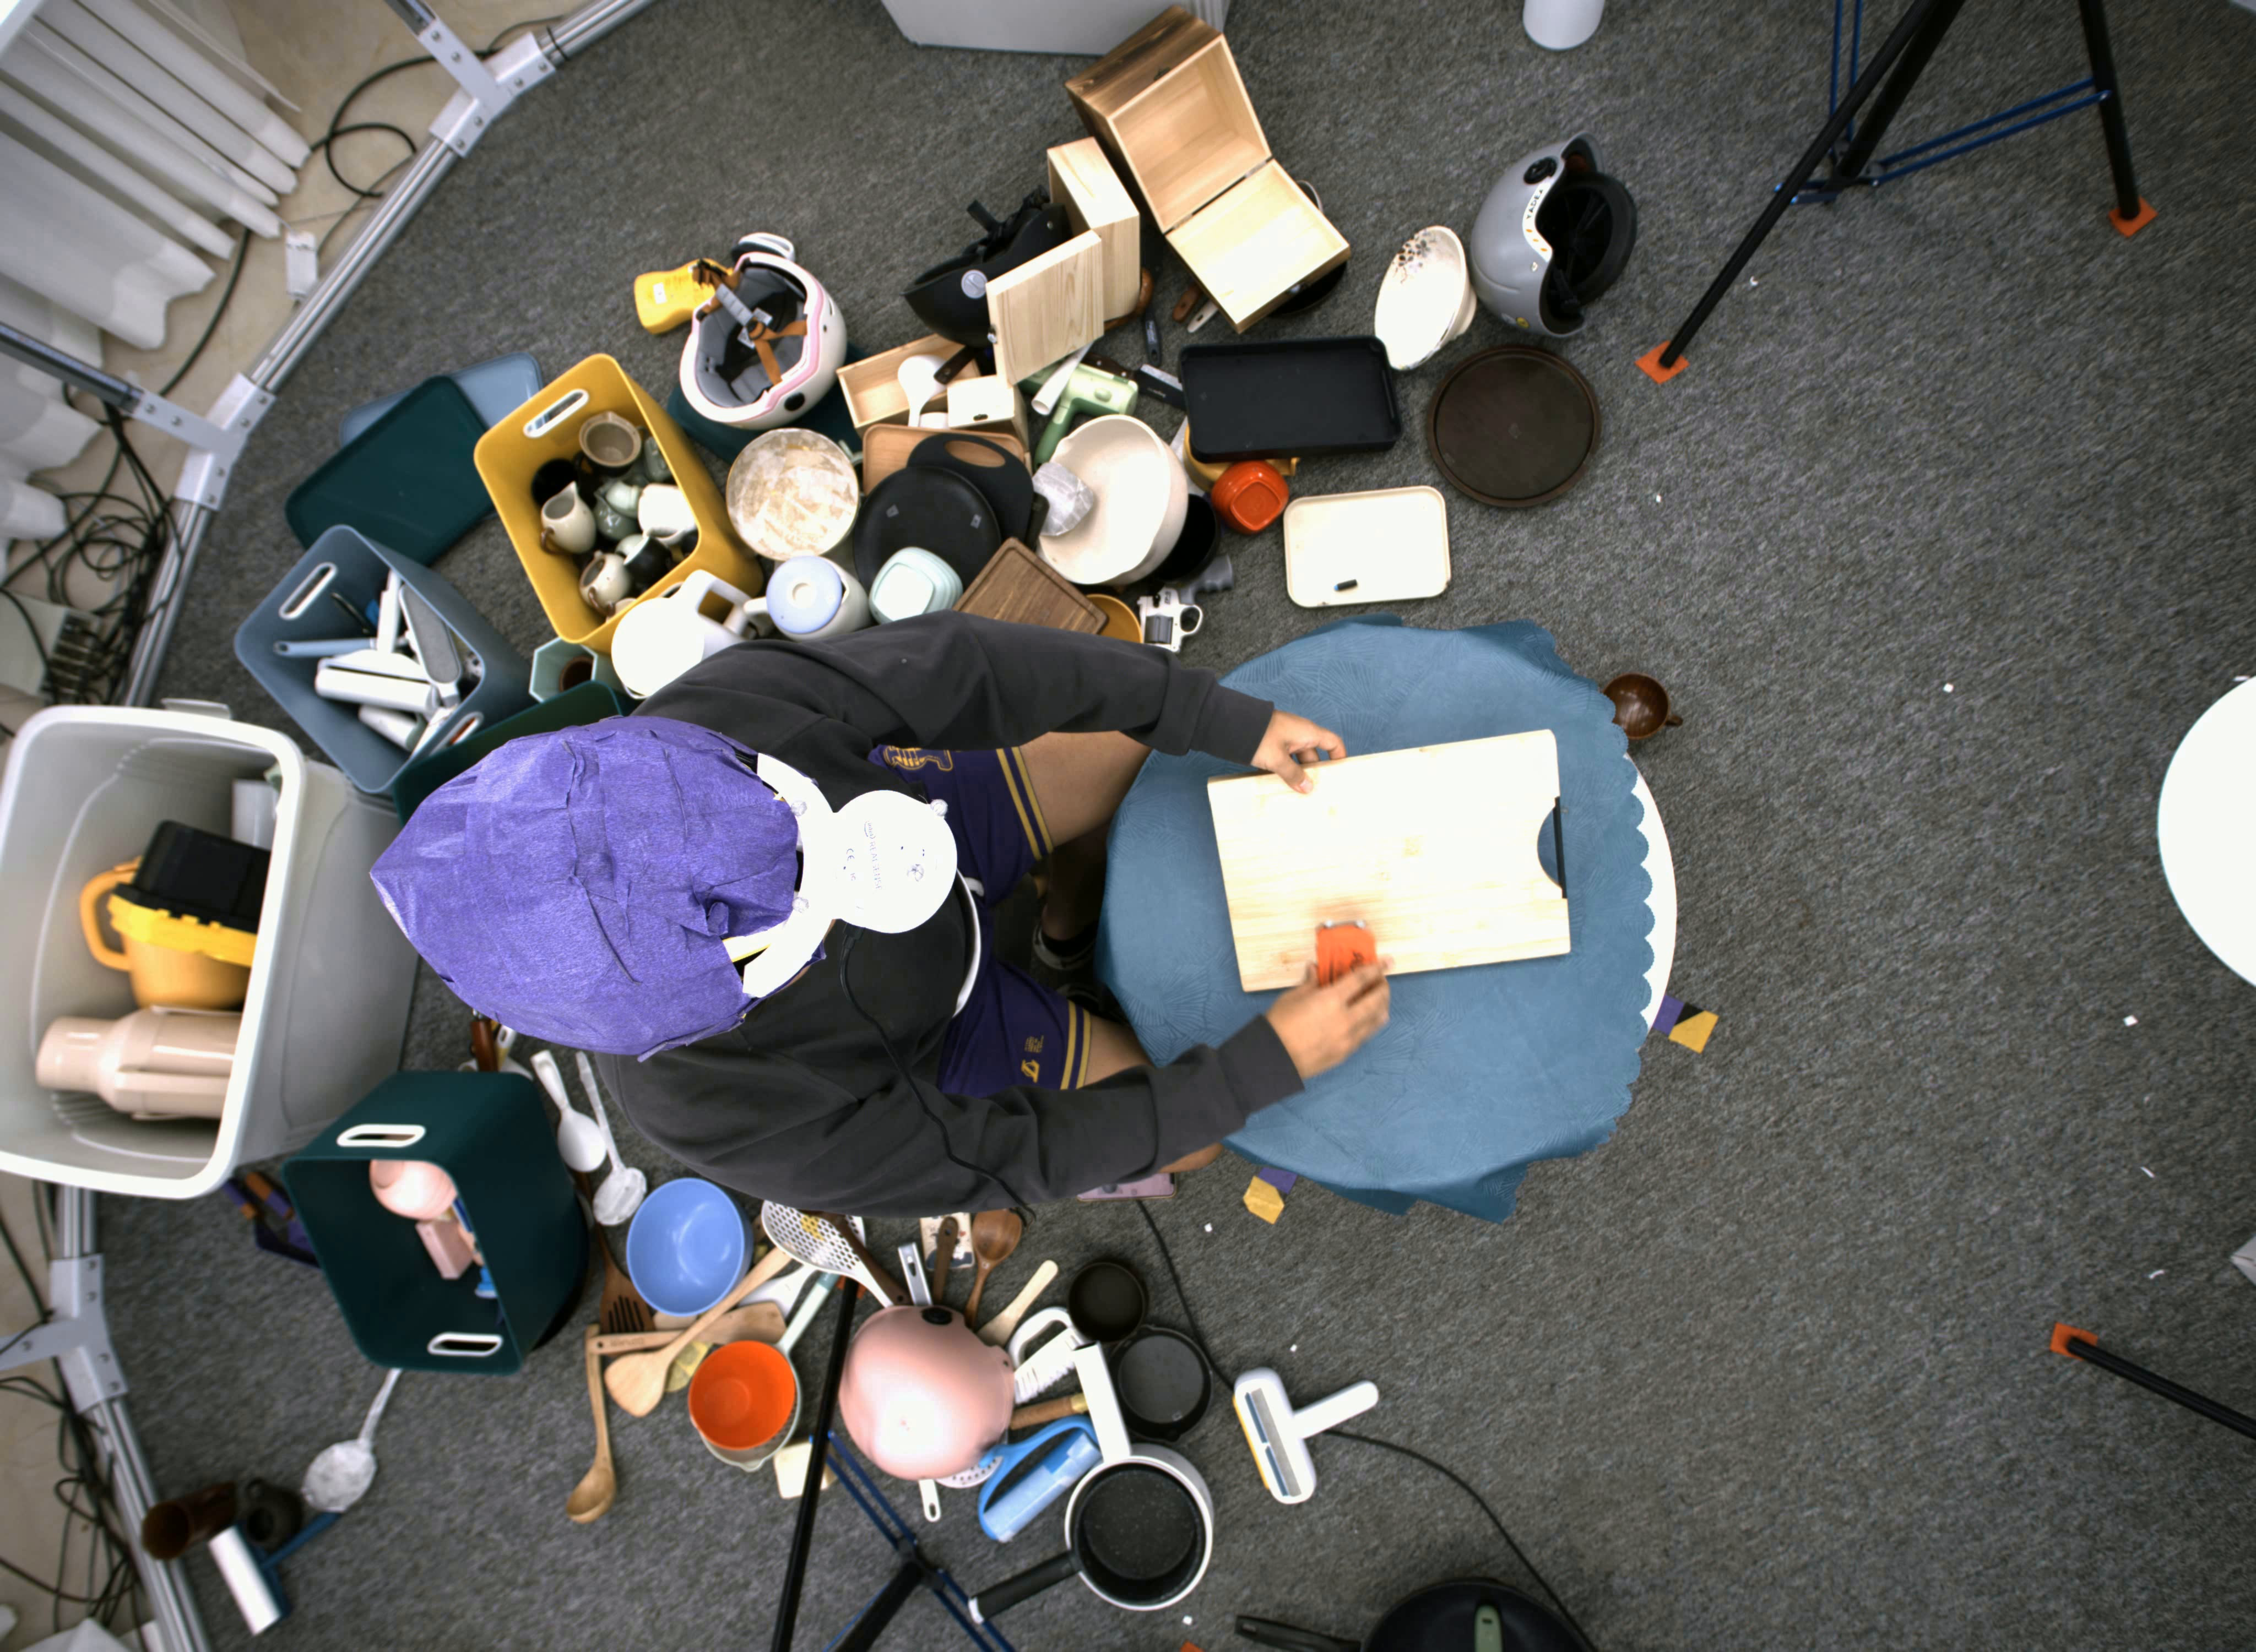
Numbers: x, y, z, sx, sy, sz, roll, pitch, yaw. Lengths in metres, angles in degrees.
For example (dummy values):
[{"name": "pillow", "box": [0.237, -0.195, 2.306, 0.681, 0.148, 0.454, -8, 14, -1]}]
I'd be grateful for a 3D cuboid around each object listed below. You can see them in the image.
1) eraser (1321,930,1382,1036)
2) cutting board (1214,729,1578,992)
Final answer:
[{"name": "eraser", "box": [0.220, 0.155, 1.368, 0.059, 0.022, 0.110, -1, 114, 6]}, {"name": "cutting board", "box": [0.271, 0.038, 1.395, 0.350, 0.023, 0.255, -8, 114, 10]}]
